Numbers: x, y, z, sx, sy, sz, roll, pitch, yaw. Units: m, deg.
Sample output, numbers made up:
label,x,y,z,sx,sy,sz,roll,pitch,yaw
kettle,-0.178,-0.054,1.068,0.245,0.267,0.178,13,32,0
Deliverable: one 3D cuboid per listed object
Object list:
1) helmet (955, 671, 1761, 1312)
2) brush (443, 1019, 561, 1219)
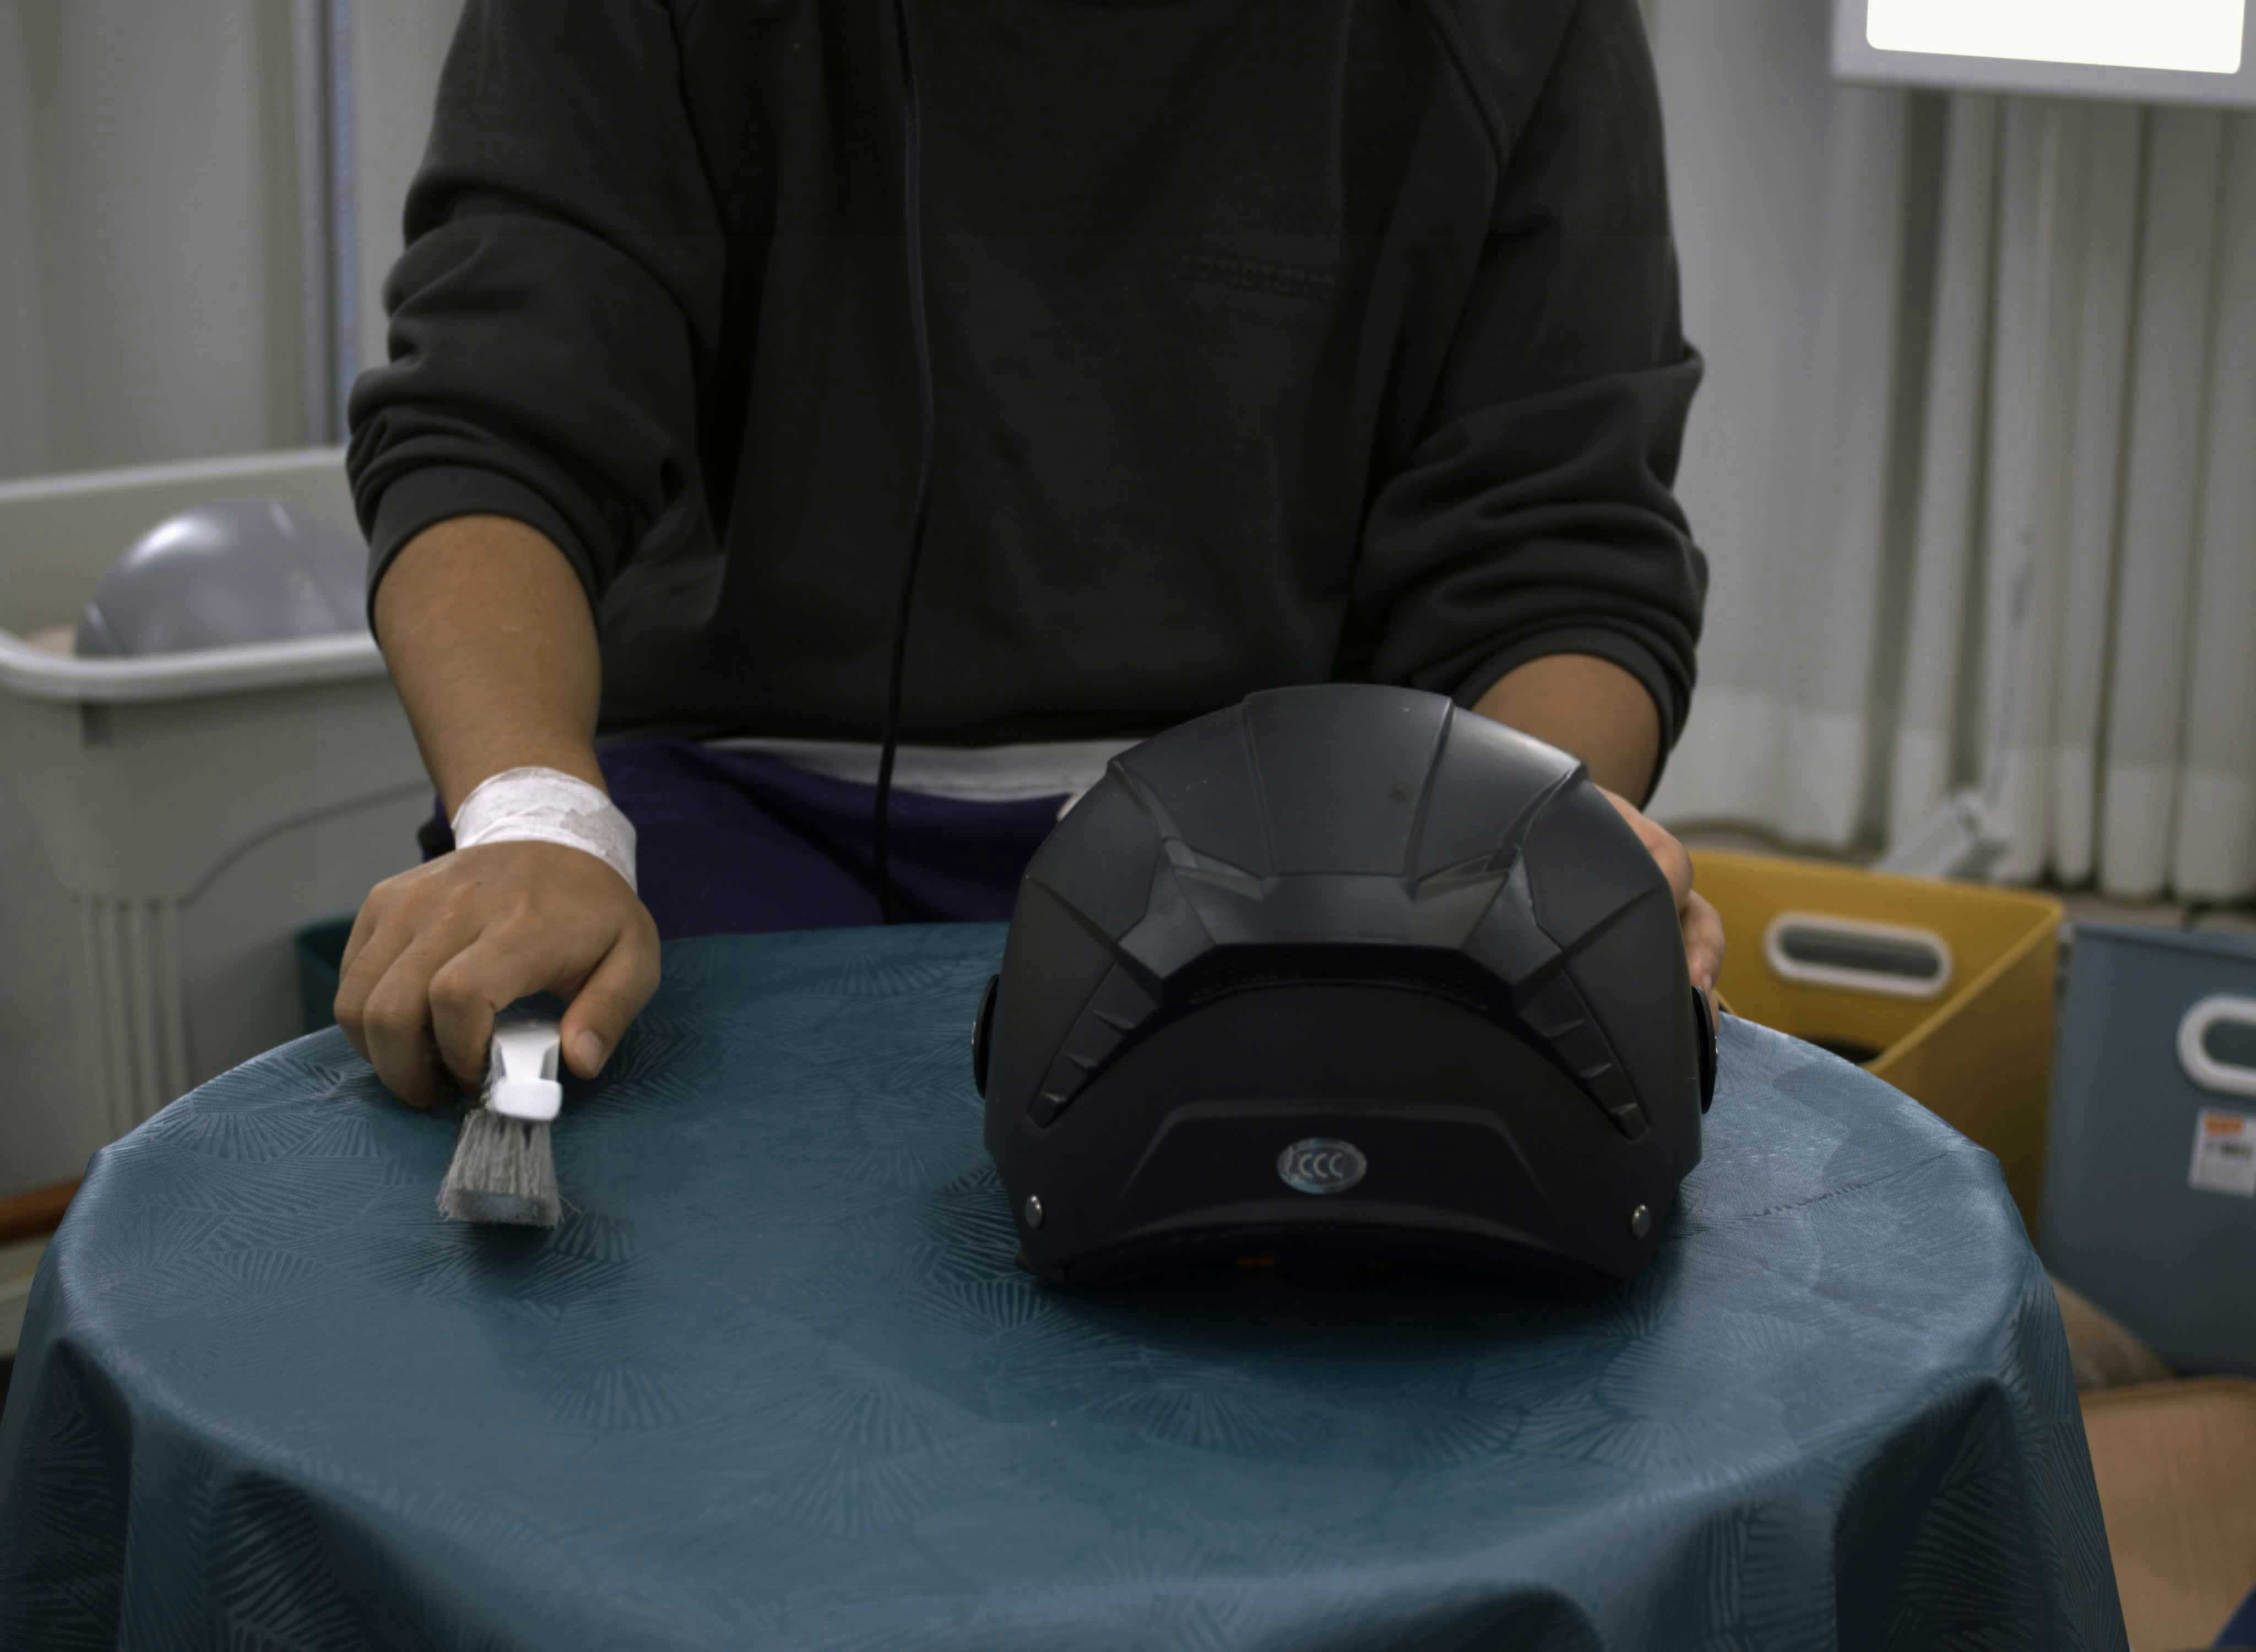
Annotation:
label,x,y,z,sx,sy,sz,roll,pitch,yaw
helmet,0.069,0.039,1.588,0.245,0.174,0.275,2,18,4
brush,-0.193,0.091,1.649,0.034,0.050,0.243,2,2,-5
